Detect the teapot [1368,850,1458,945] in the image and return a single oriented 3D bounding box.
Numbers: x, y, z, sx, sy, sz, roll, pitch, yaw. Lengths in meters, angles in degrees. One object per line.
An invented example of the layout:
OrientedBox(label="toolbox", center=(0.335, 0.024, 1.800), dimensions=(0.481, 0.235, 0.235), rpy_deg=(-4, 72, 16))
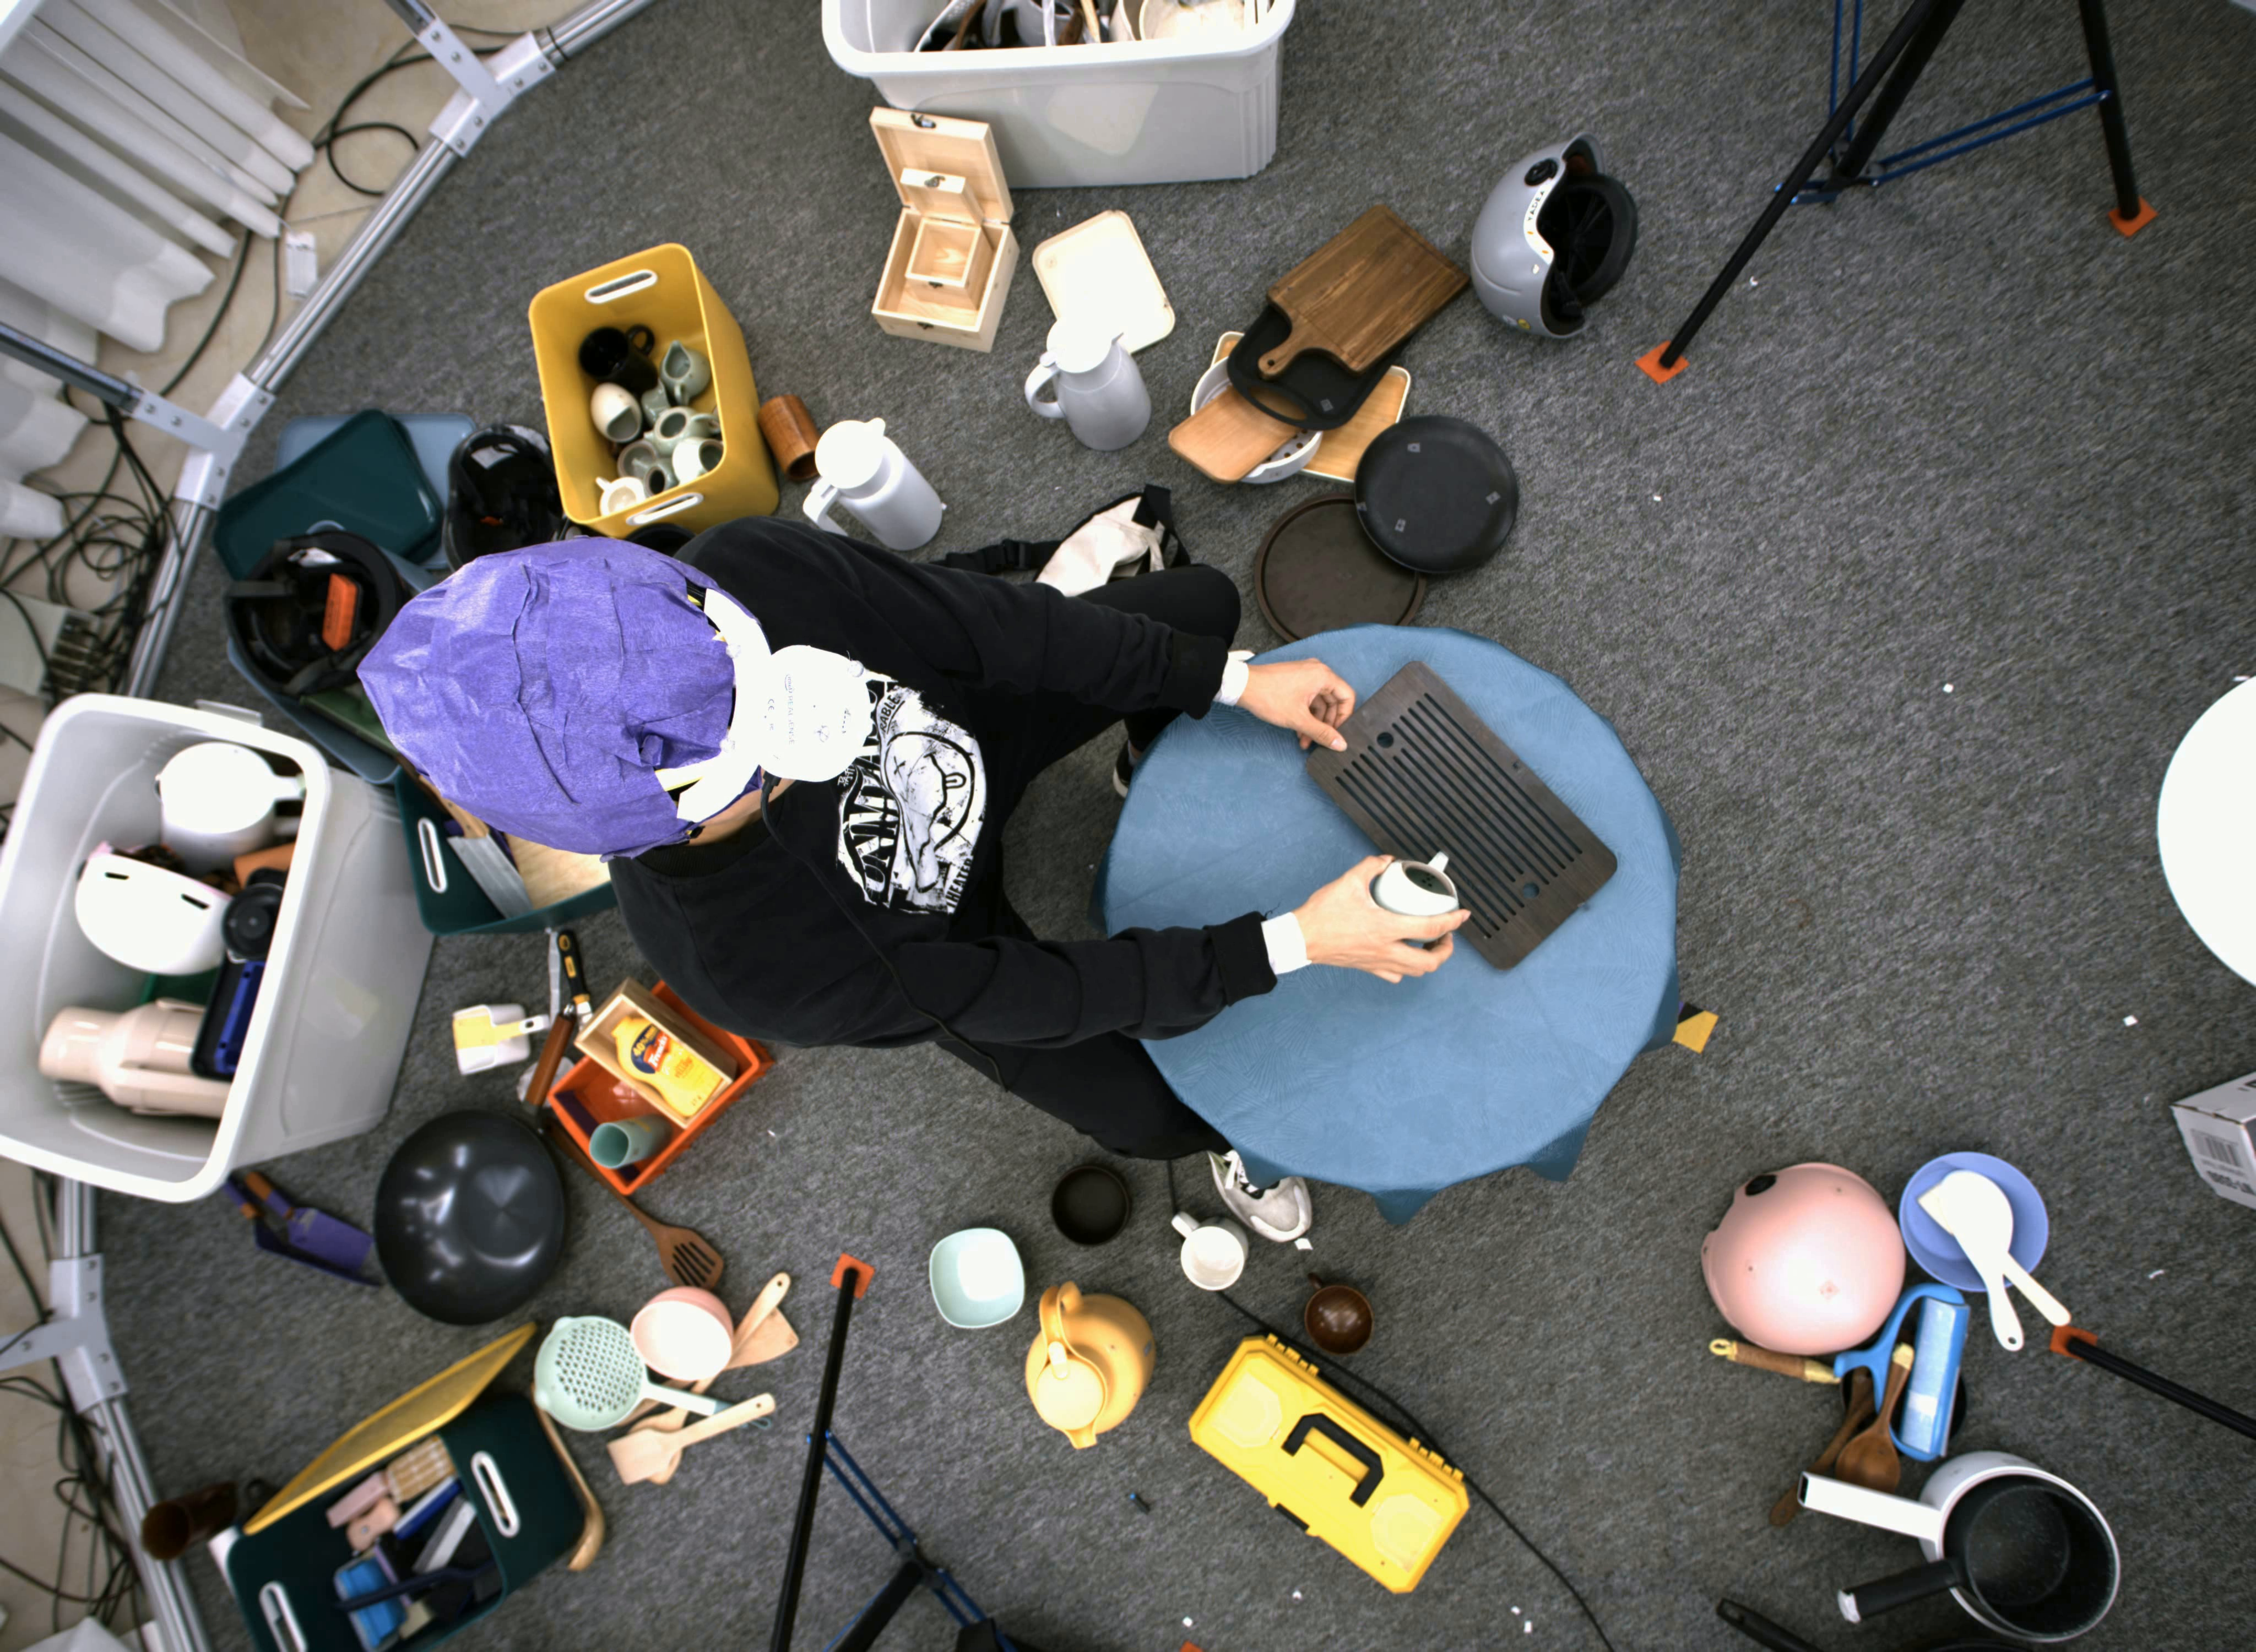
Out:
OrientedBox(label="teapot", center=(0.280, 0.072, 1.353), dimensions=(0.088, 0.141, 0.076), rpy_deg=(32, 120, 17))

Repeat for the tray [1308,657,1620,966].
OrientedBox(label="tray", center=(0.348, -0.018, 1.434), dimensions=(0.171, 0.018, 0.305), rpy_deg=(-44, 83, 6))
